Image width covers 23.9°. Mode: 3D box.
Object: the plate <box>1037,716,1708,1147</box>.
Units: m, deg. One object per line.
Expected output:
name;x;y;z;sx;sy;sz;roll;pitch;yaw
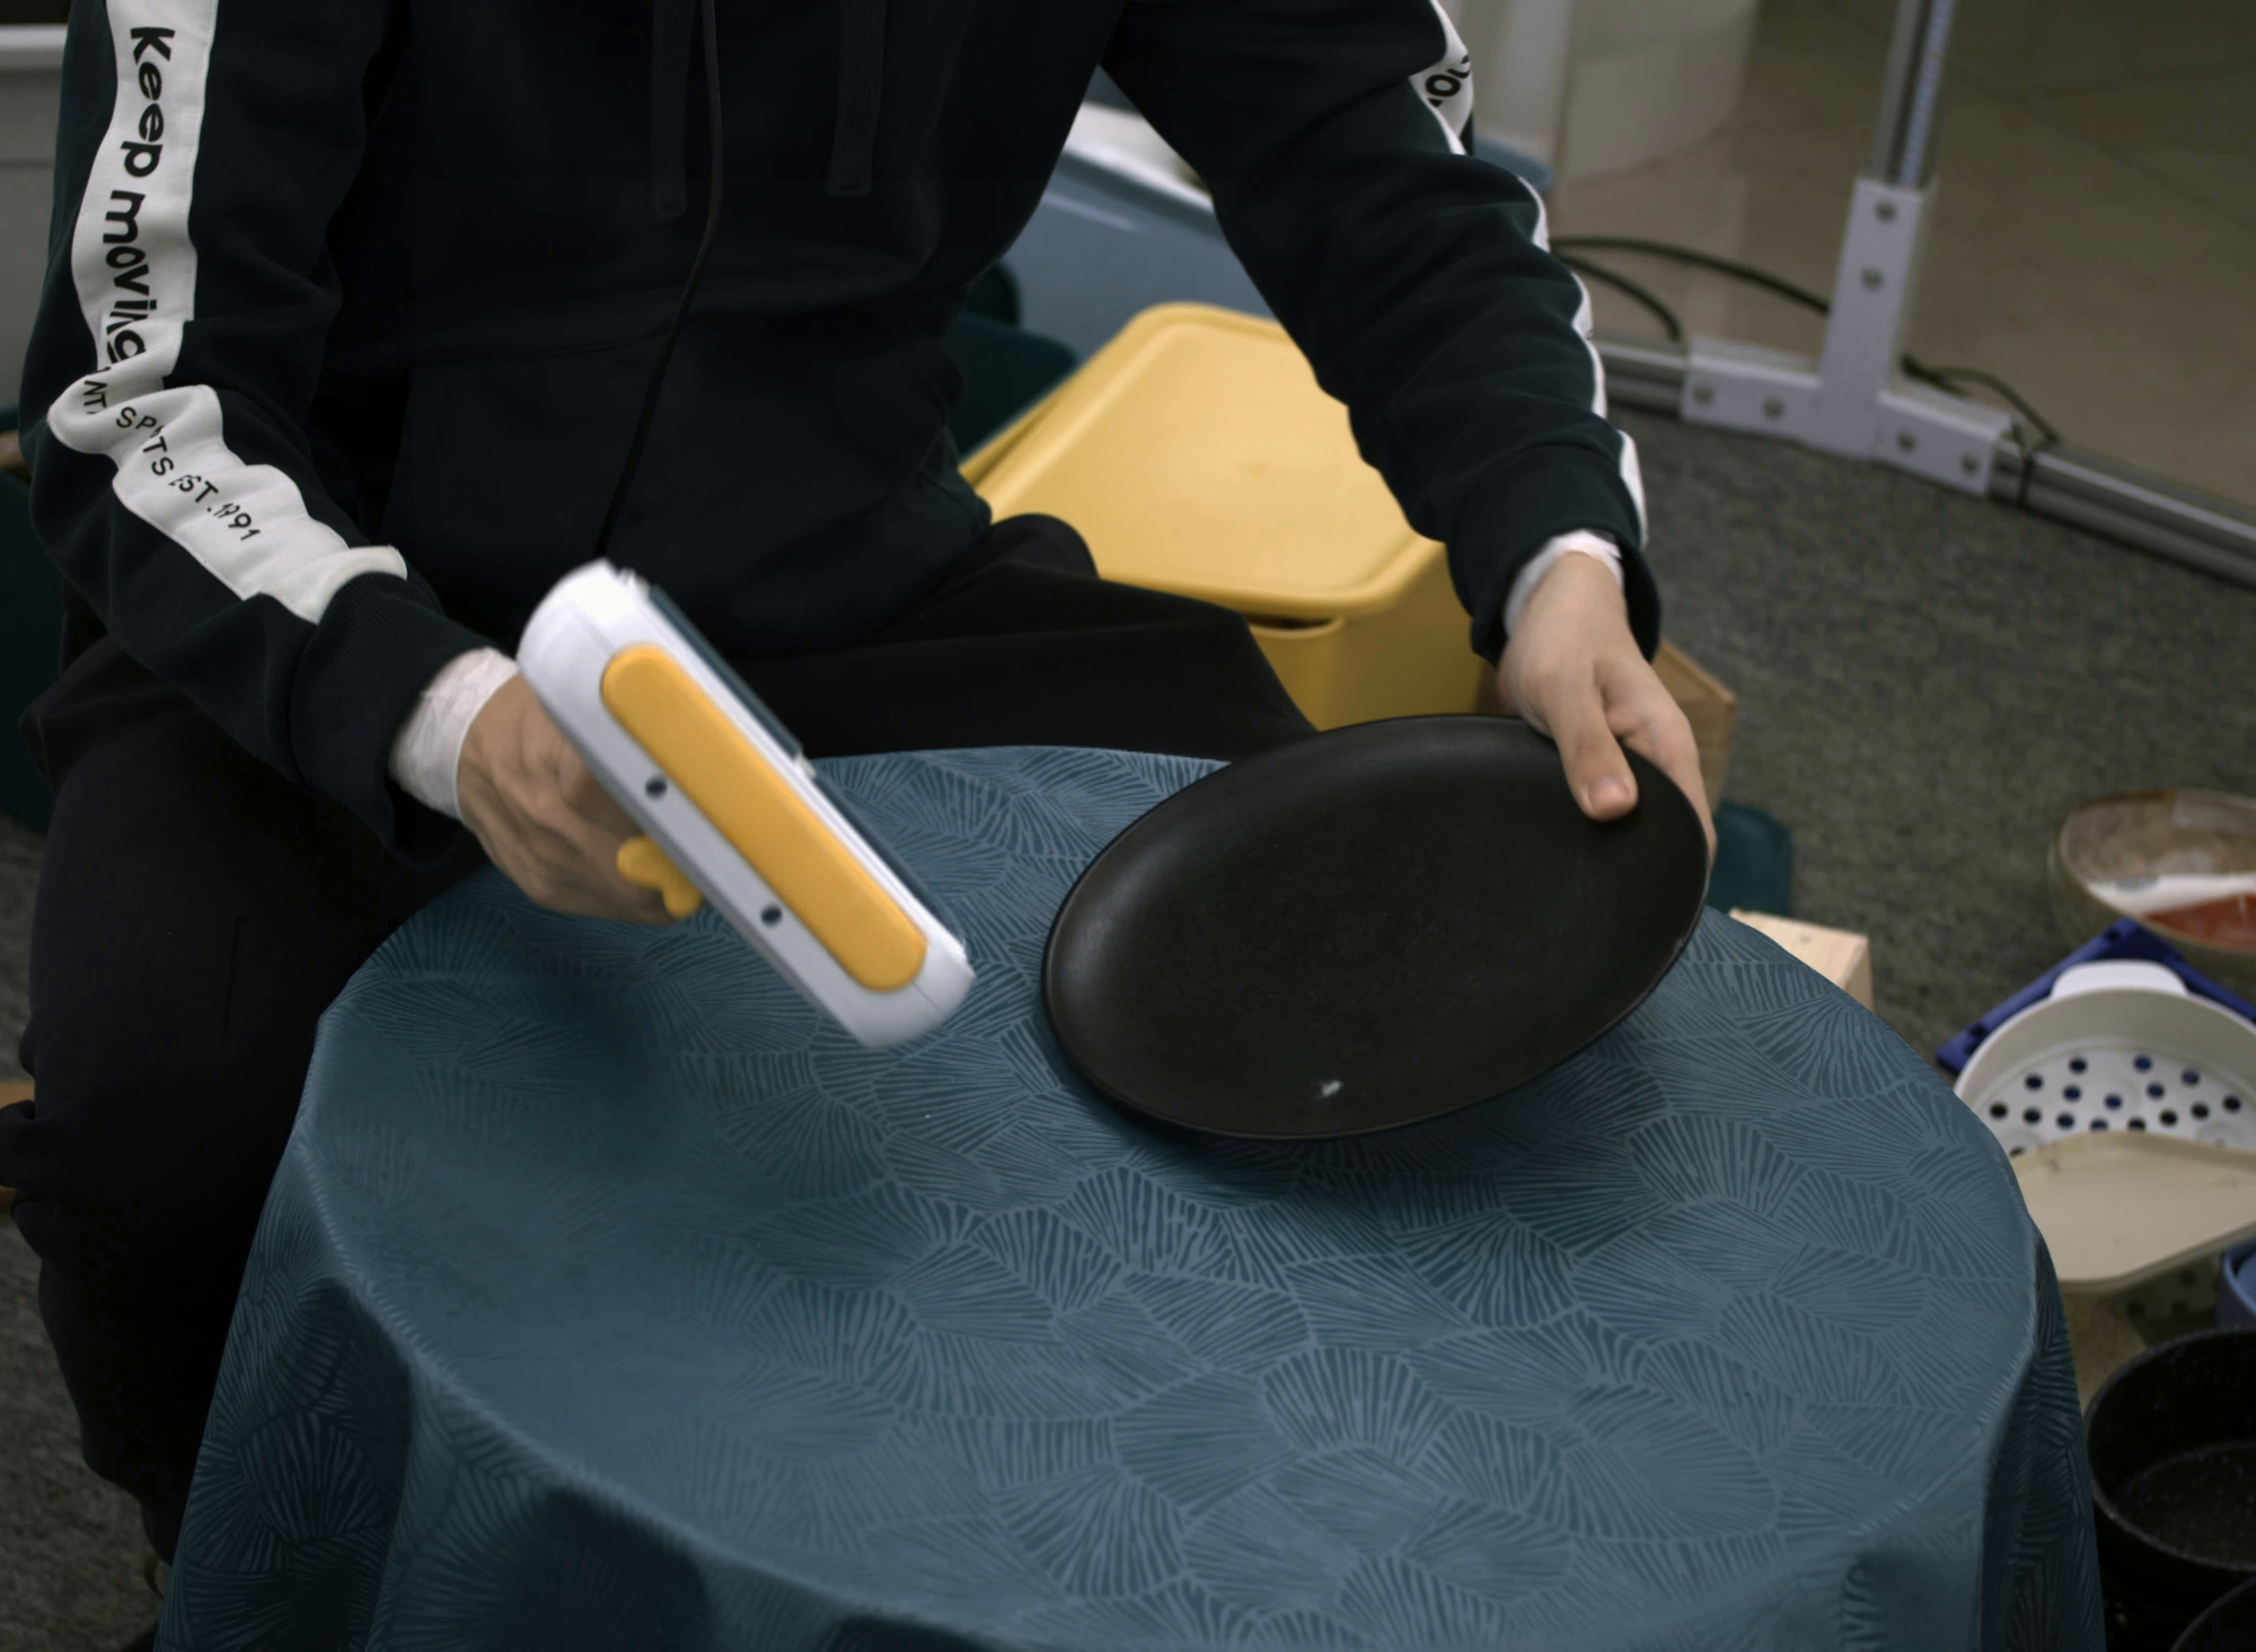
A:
plate;0.087;0.041;1.889;0.244;0.023;0.246;-11;34;7

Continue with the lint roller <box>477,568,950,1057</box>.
lint roller;-0.159;0.009;1.800;0.074;0.192;0.193;-49;9;-19
